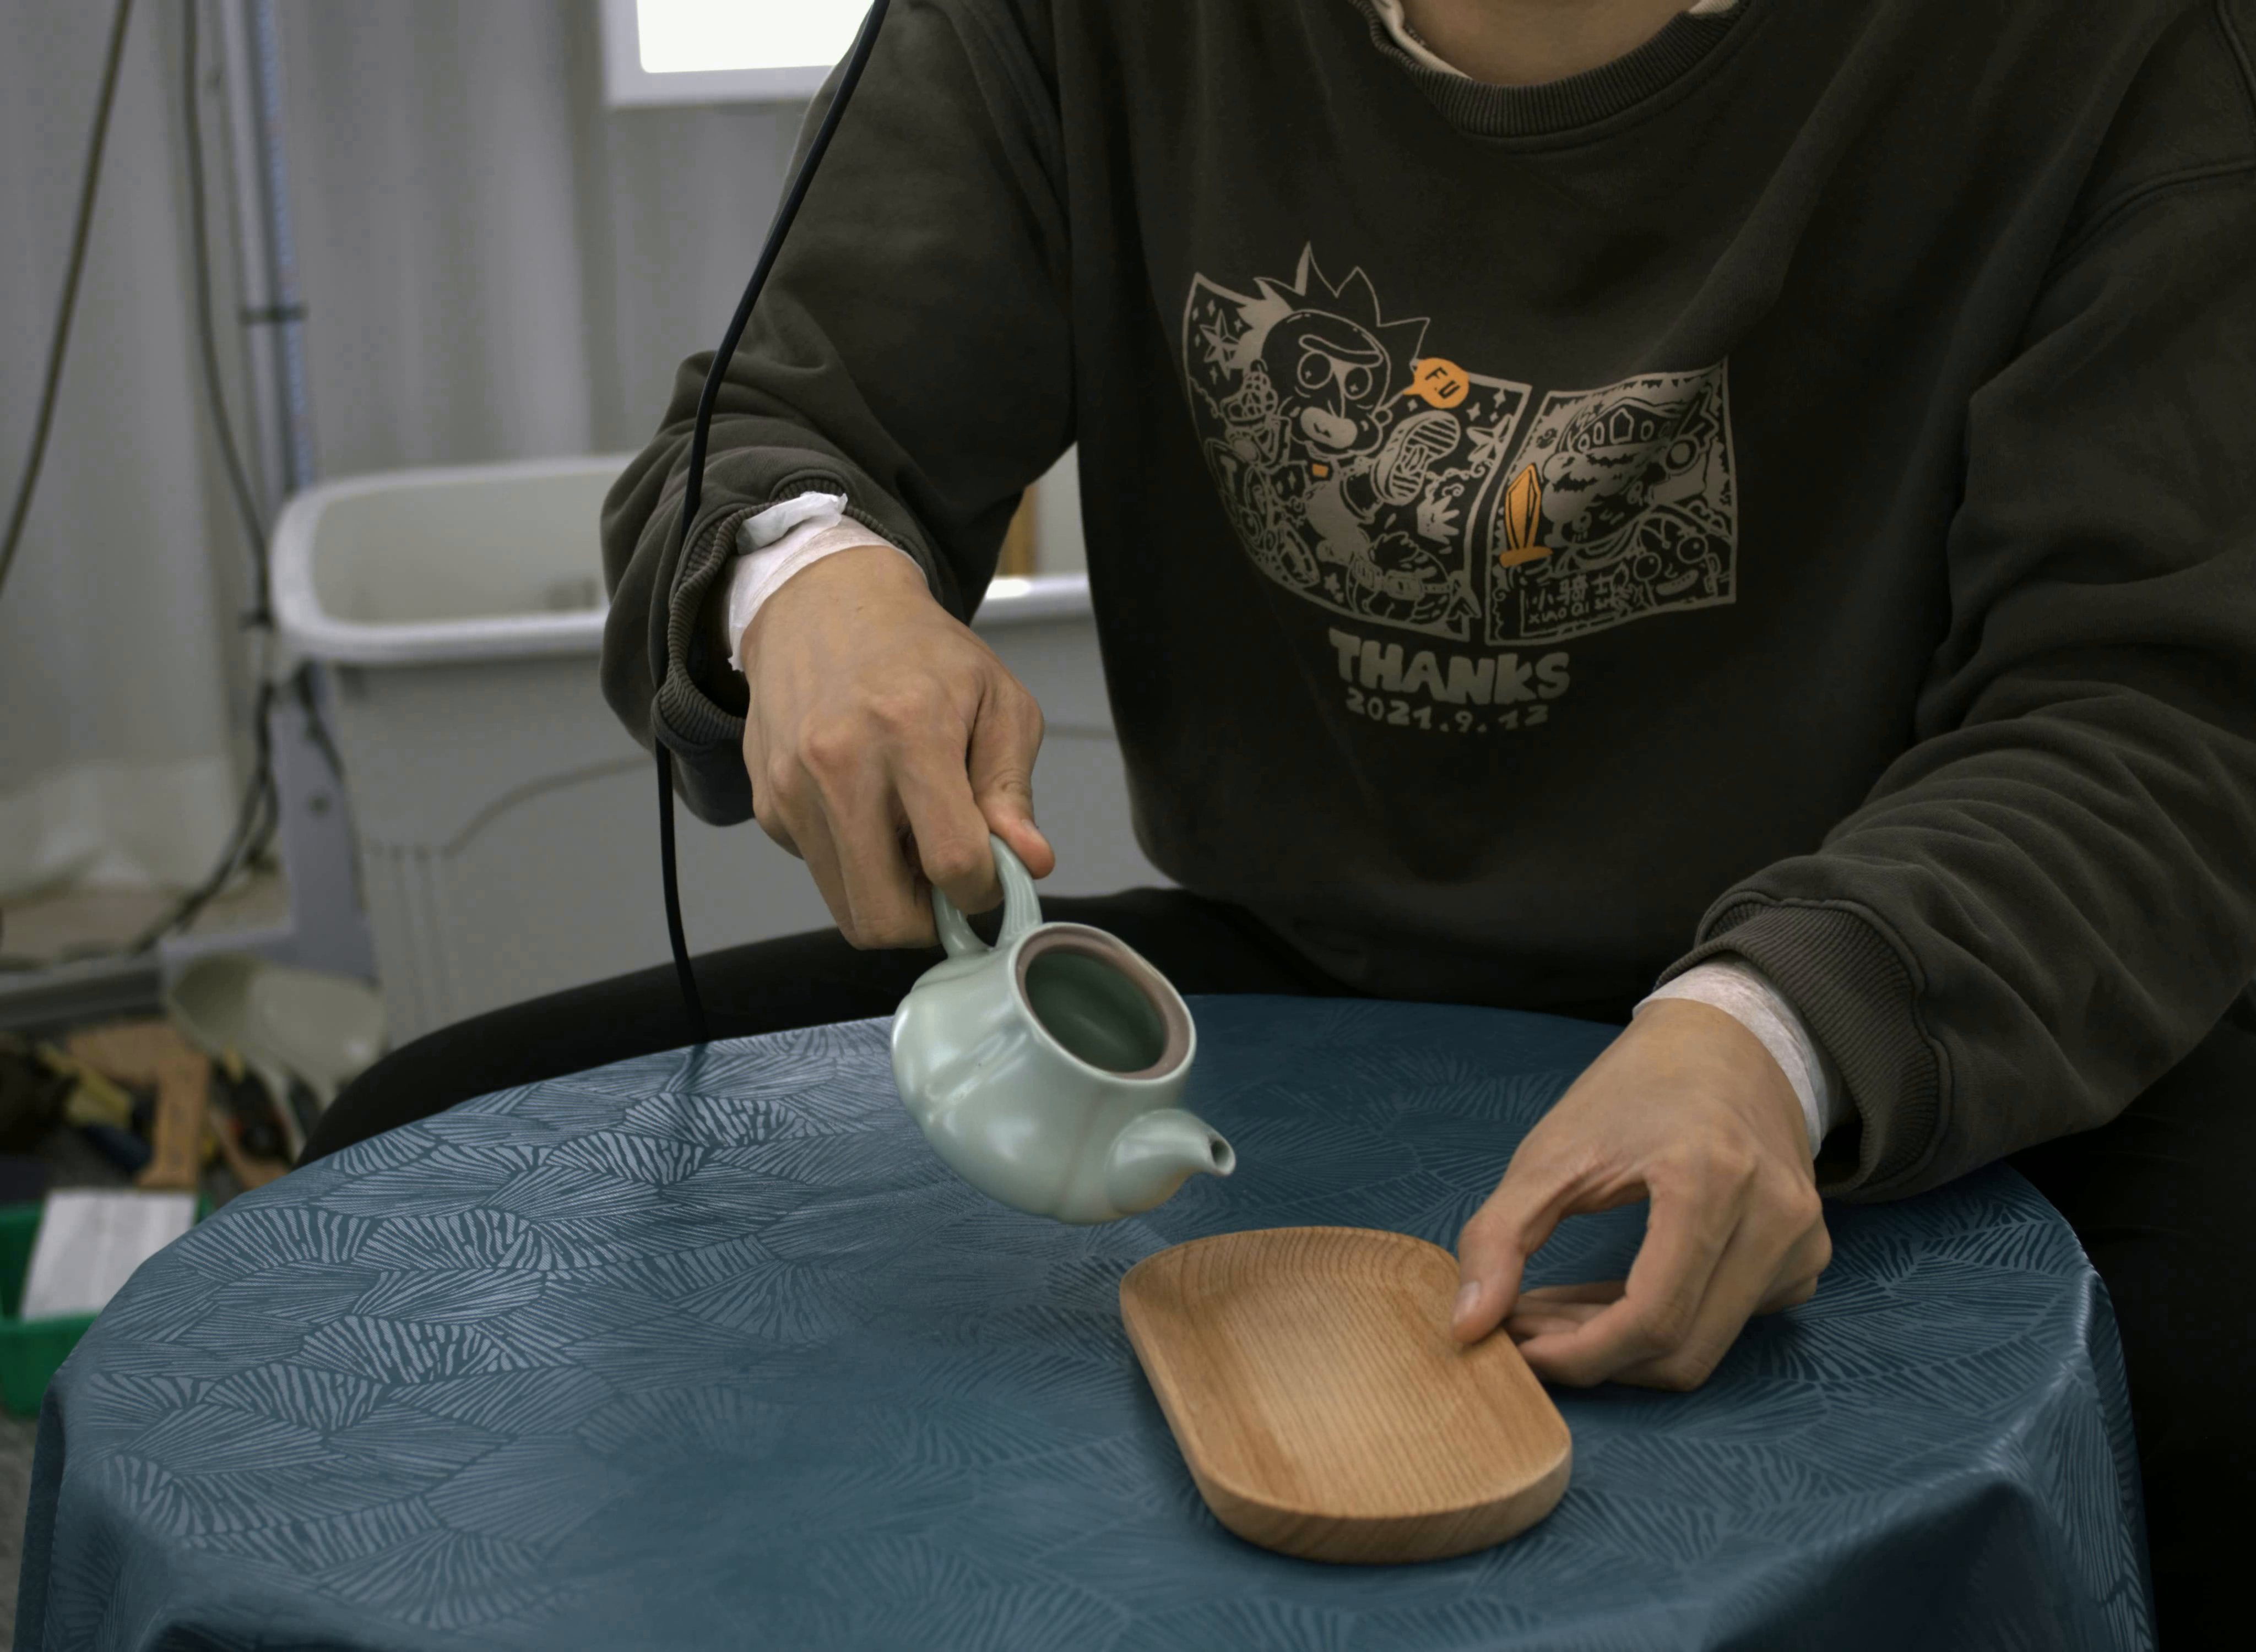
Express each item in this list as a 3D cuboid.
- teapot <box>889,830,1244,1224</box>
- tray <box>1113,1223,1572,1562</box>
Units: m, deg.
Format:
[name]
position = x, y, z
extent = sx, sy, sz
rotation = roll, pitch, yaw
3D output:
[teapot]
position = -0.022, 0.064, 1.602
extent = 0.096, 0.061, 0.138
rotation = -16, 61, -45
[tray]
position = 0.057, 0.155, 1.527
extent = 0.101, 0.020, 0.233
rotation = -5, 14, -9
